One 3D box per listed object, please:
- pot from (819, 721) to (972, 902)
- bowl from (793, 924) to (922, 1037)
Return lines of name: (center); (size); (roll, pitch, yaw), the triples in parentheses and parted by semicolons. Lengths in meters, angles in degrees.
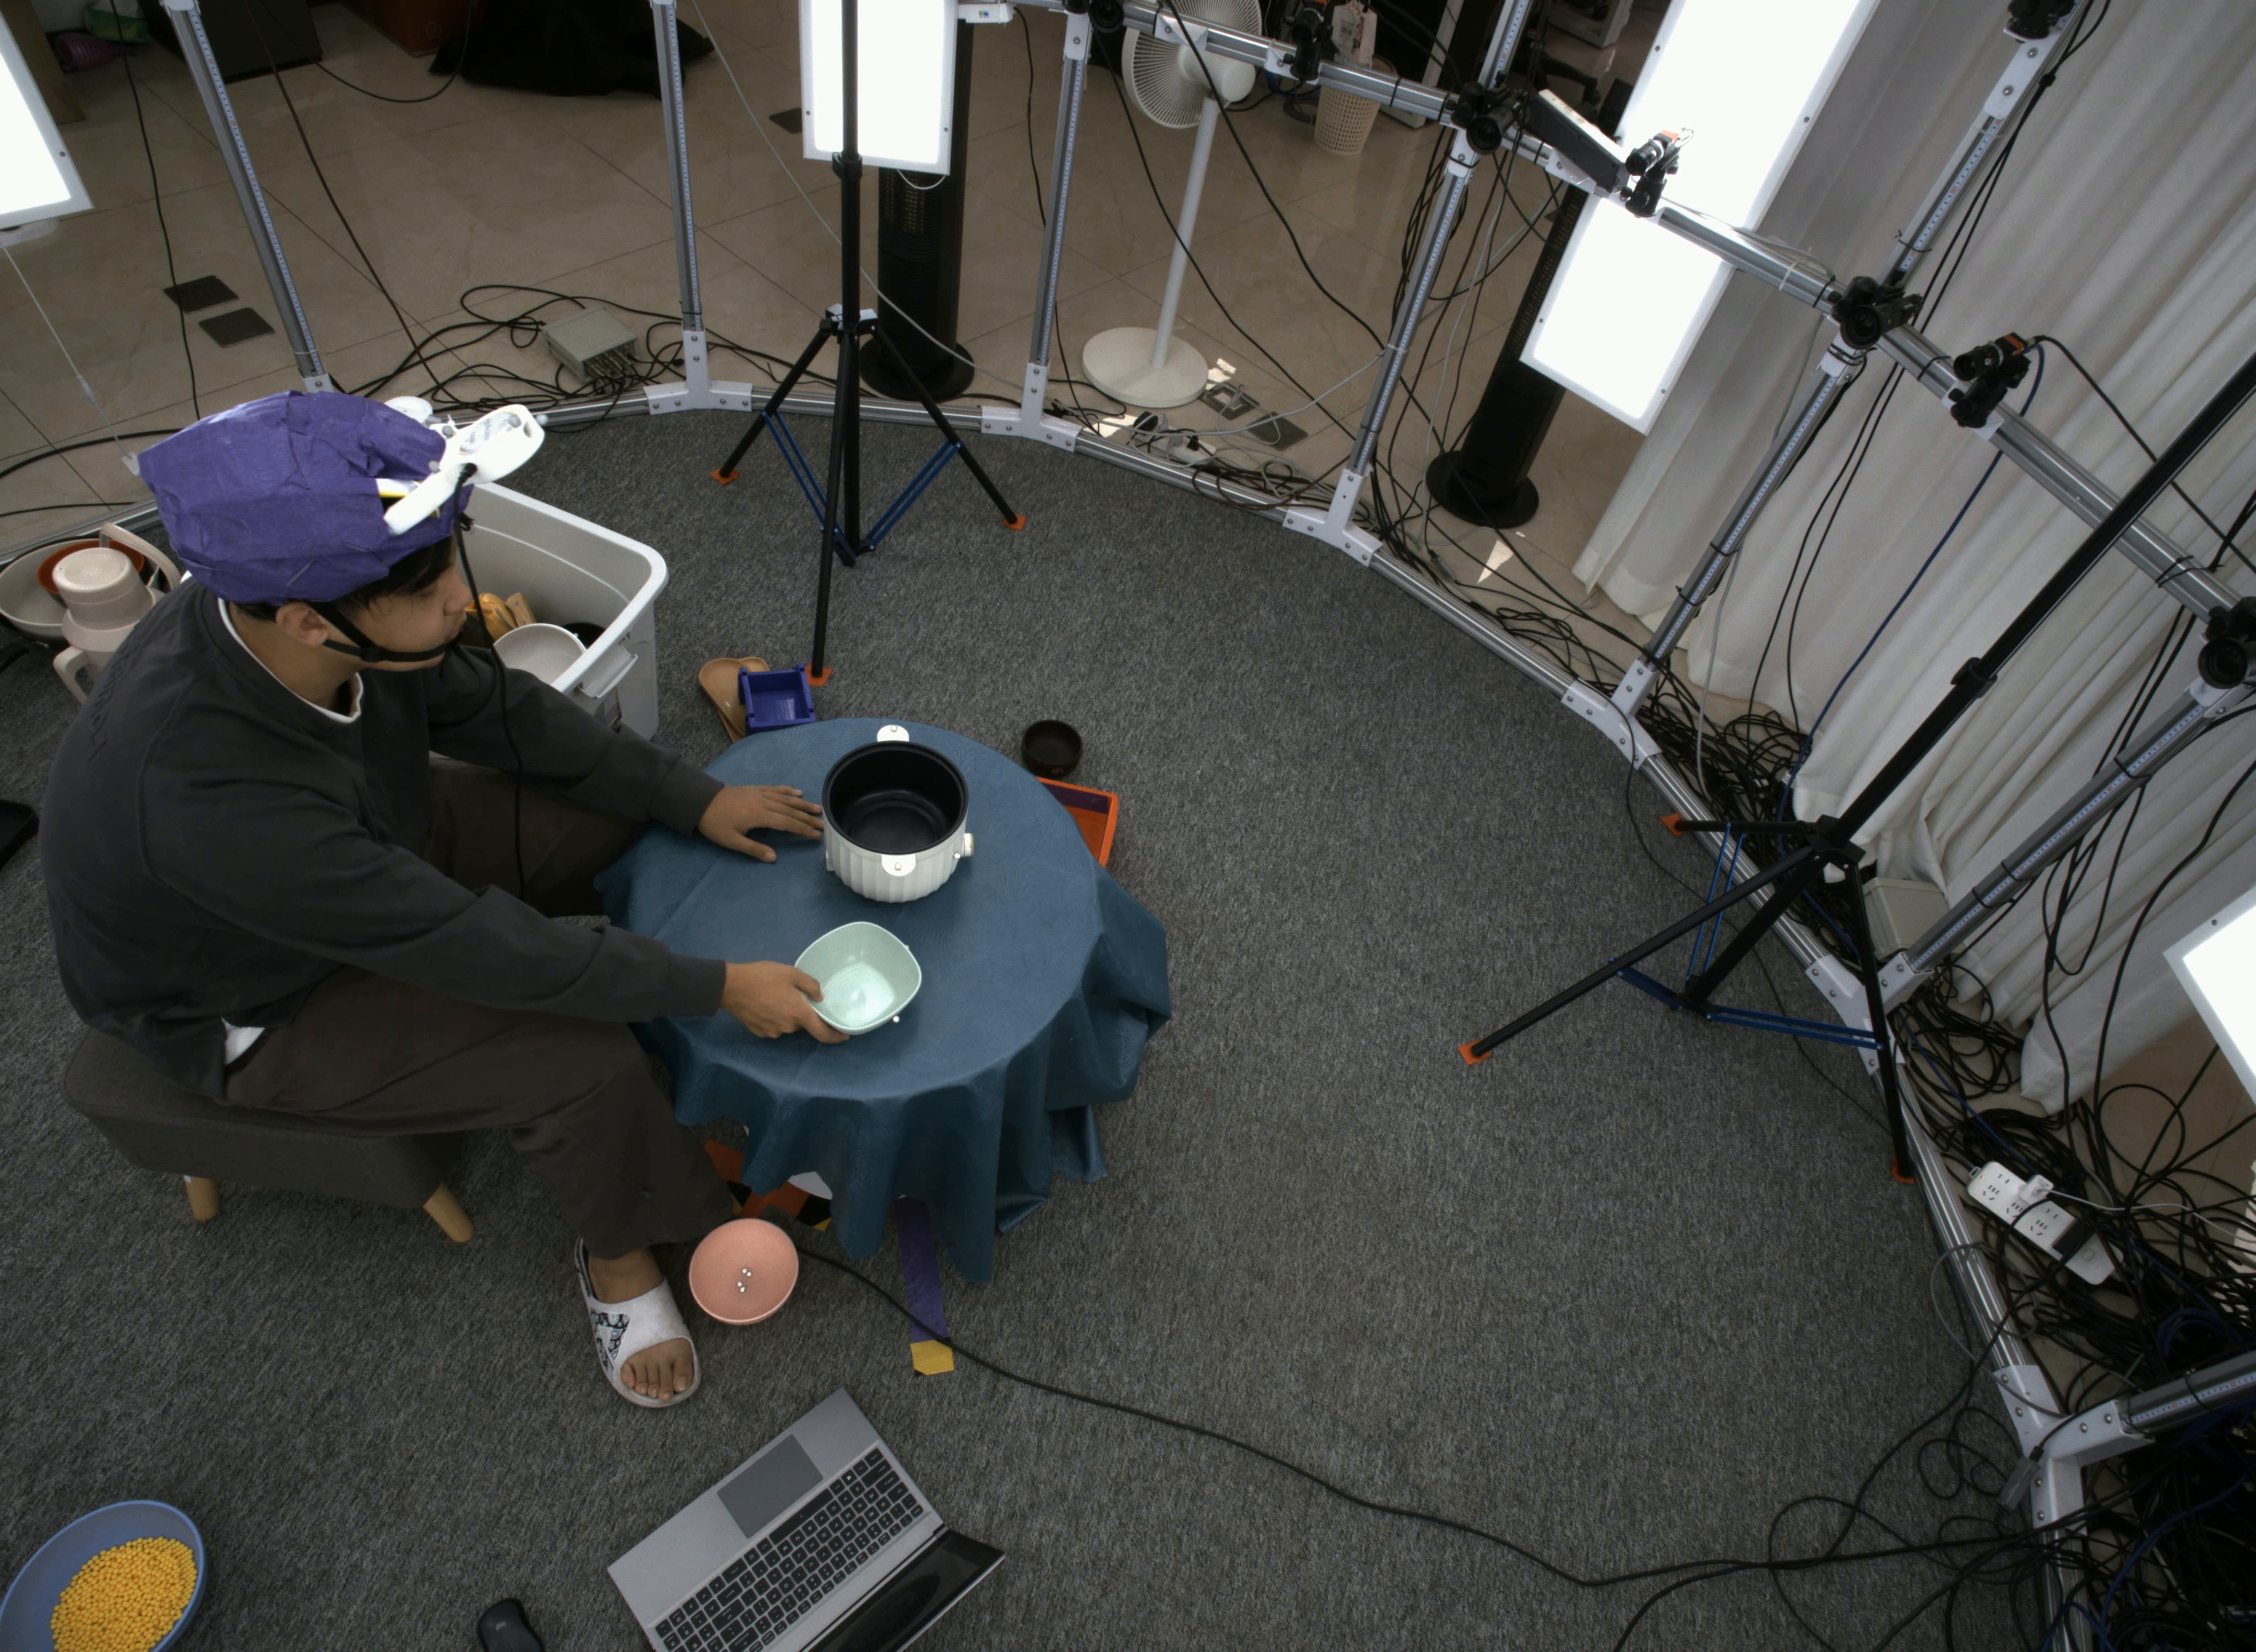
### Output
pot: (-0.295, -0.003, 1.664); (0.190, 0.146, 0.235); (-4, 56, -12)
bowl: (-0.326, 0.194, 1.565); (0.151, 0.060, 0.149); (8, 51, -9)
